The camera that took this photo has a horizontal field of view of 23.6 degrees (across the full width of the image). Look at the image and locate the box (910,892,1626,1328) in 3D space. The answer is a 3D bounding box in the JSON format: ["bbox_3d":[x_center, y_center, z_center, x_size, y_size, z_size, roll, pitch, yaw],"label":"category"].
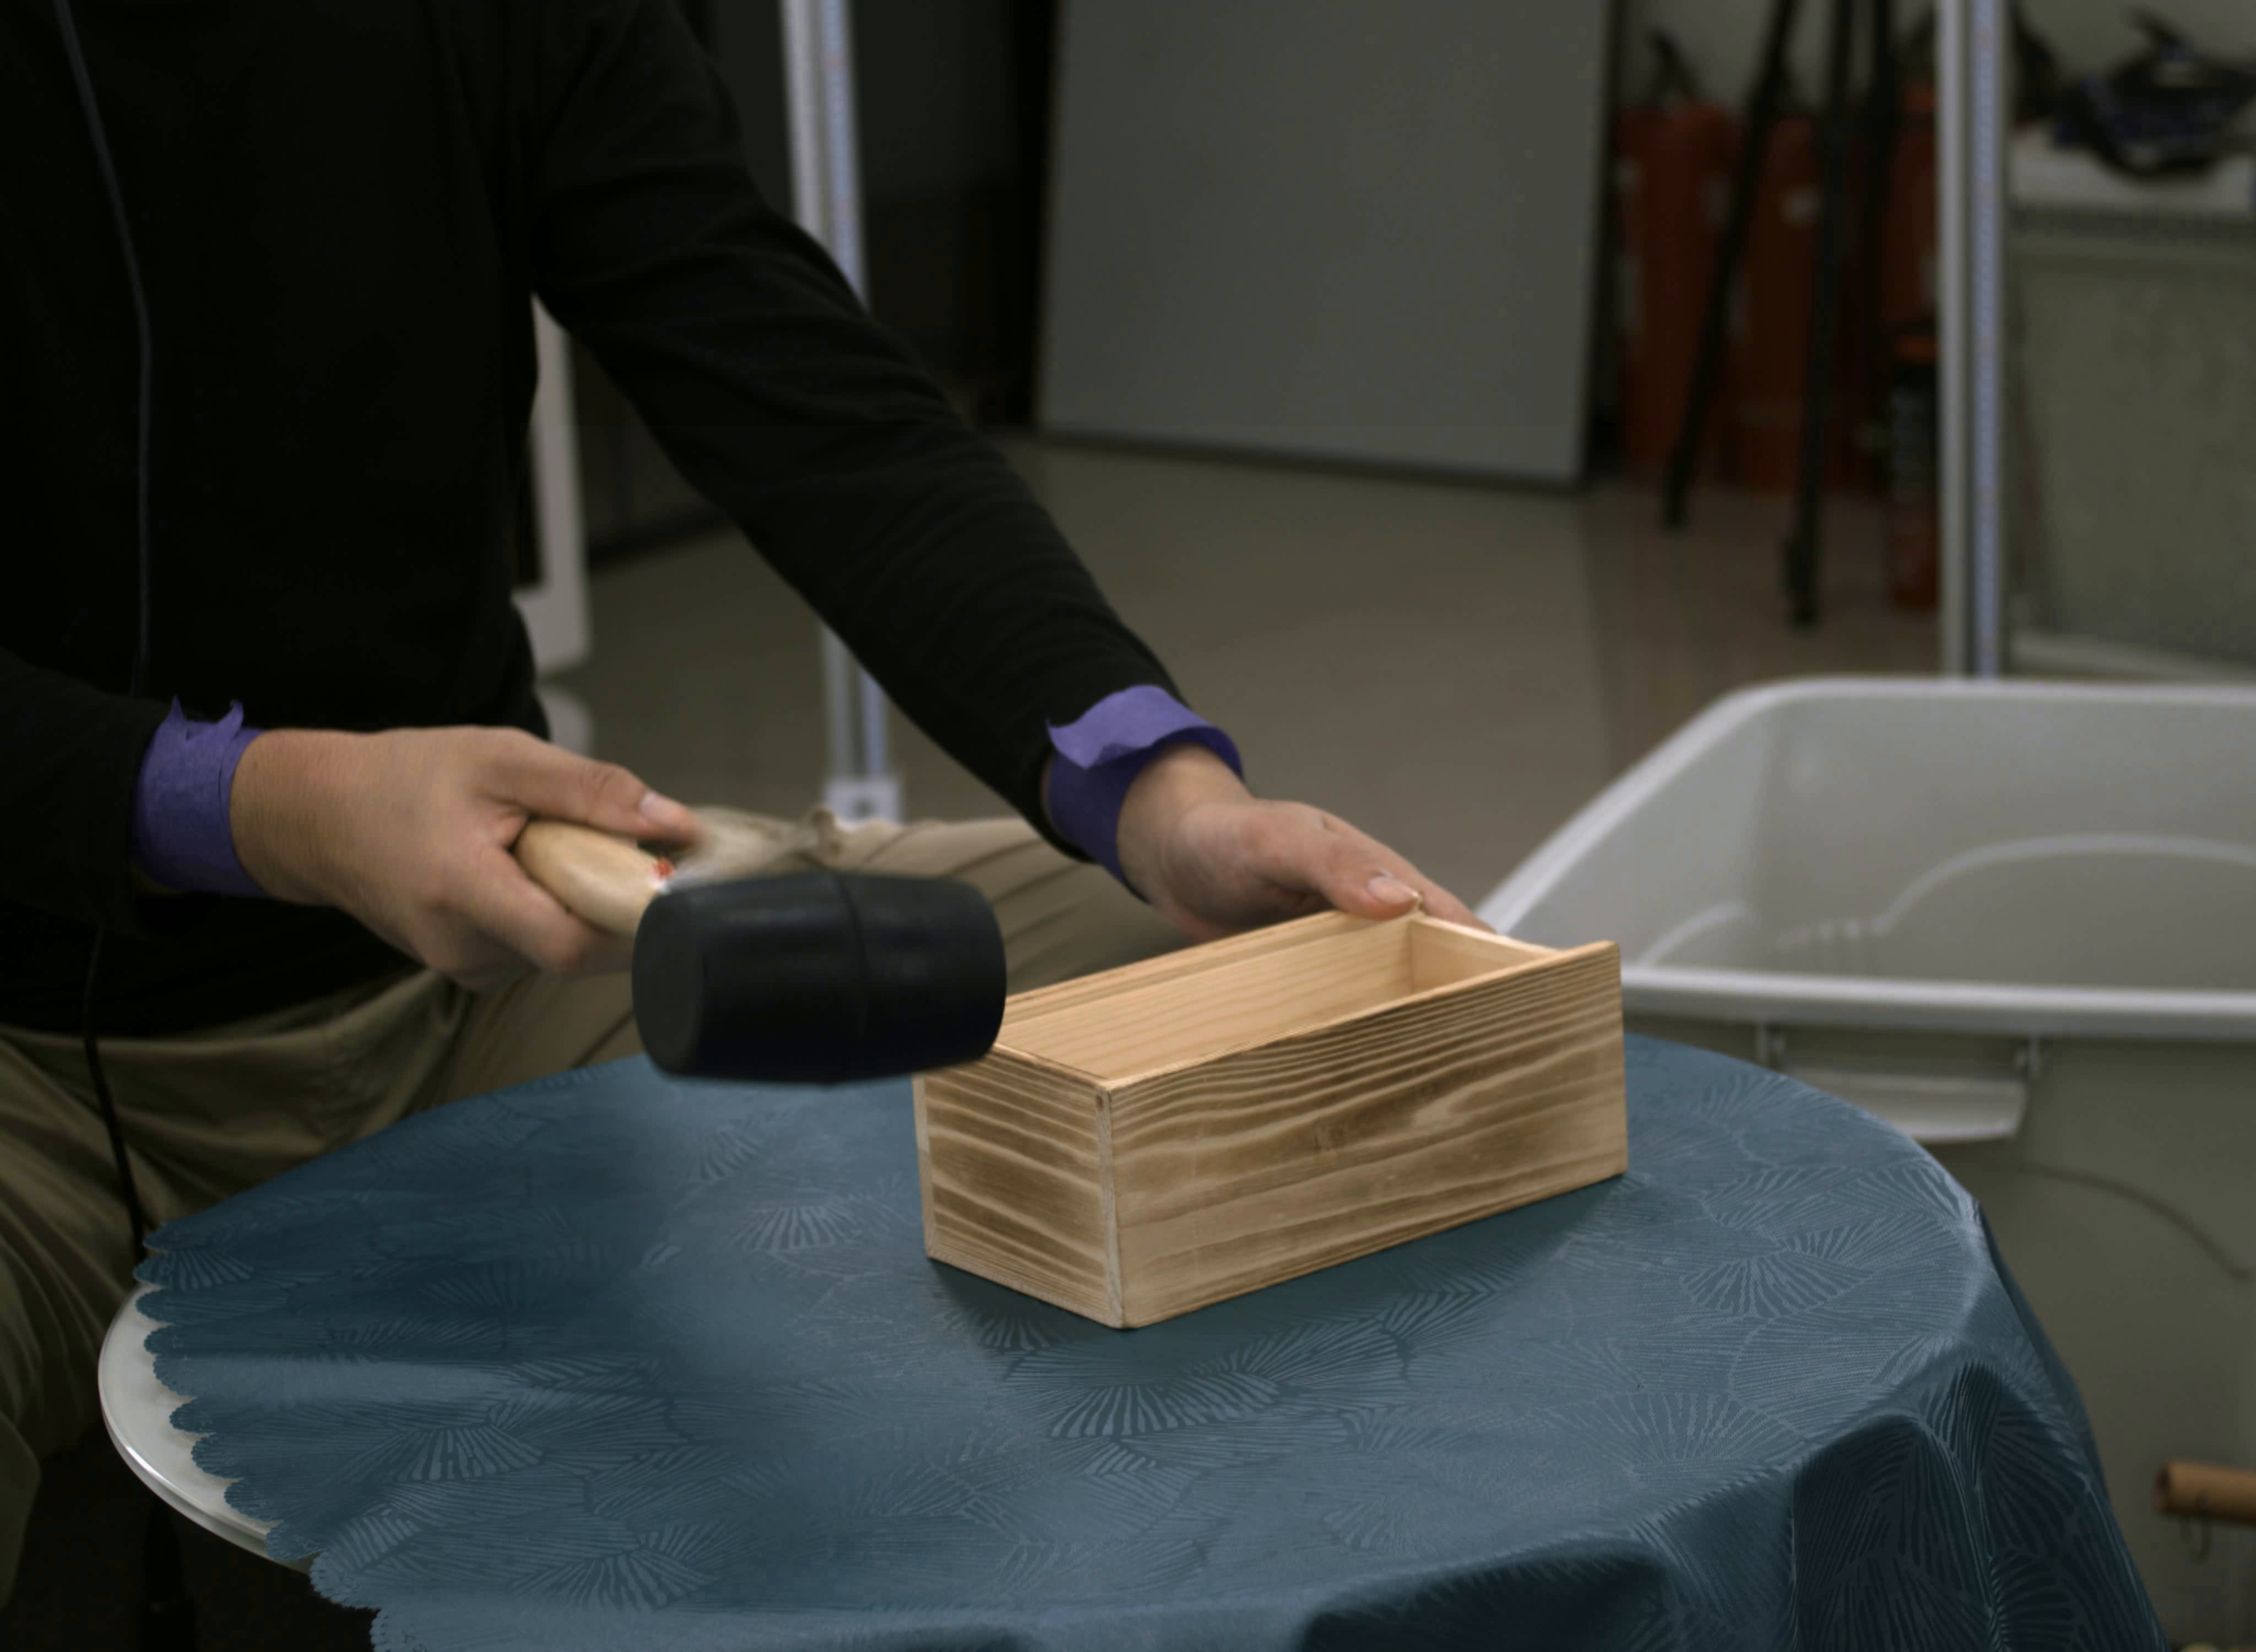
[{"bbox_3d":[0.047,0.088,1.728,0.207,0.081,0.108,-14,16,-34],"label":"box"}]

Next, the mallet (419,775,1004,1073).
[{"bbox_3d":[-0.151,0.012,1.685,0.099,0.065,0.342,4,9,-27],"label":"mallet"}]
